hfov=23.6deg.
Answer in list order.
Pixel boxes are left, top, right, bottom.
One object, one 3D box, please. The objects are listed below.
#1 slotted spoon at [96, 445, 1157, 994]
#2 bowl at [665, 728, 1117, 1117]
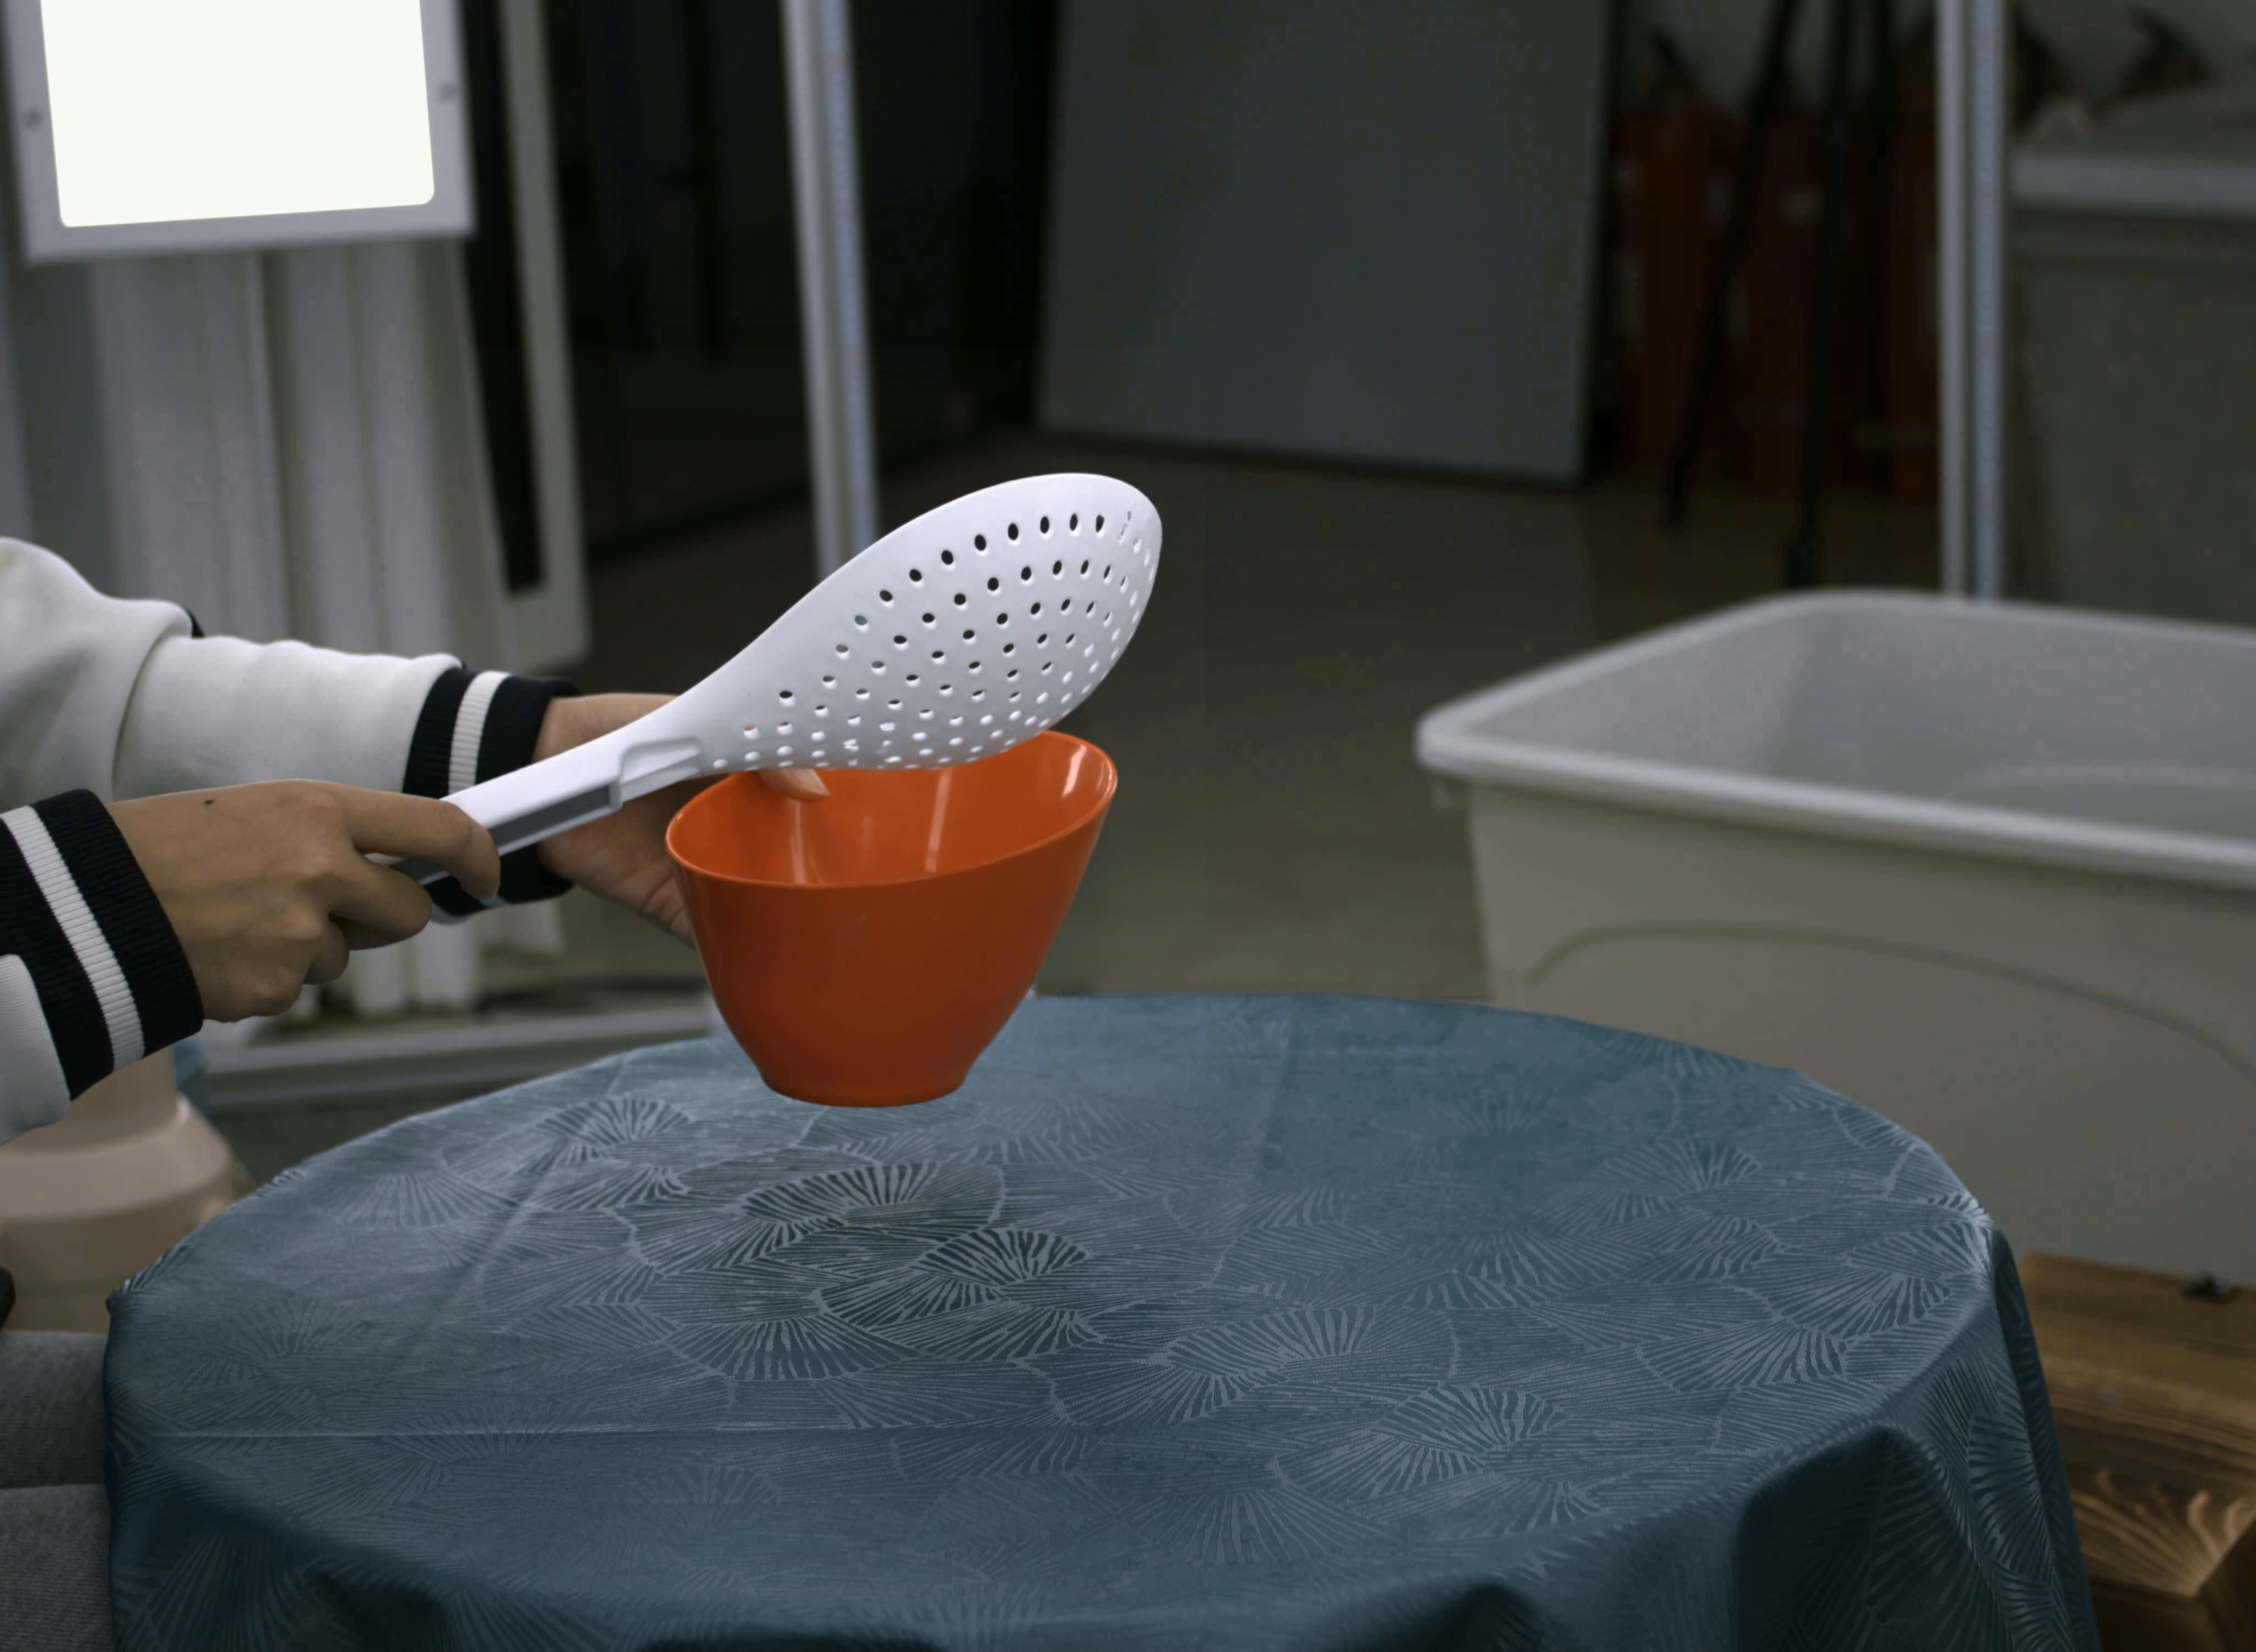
[{"bbox_3d":[-0.145,-0.025,1.629,0.344,0.046,0.136,-18,-29,-10],"label":"slotted spoon"},{"bbox_3d":[-0.076,0.033,1.750,0.146,0.106,0.148,0,15,-1],"label":"bowl"}]
